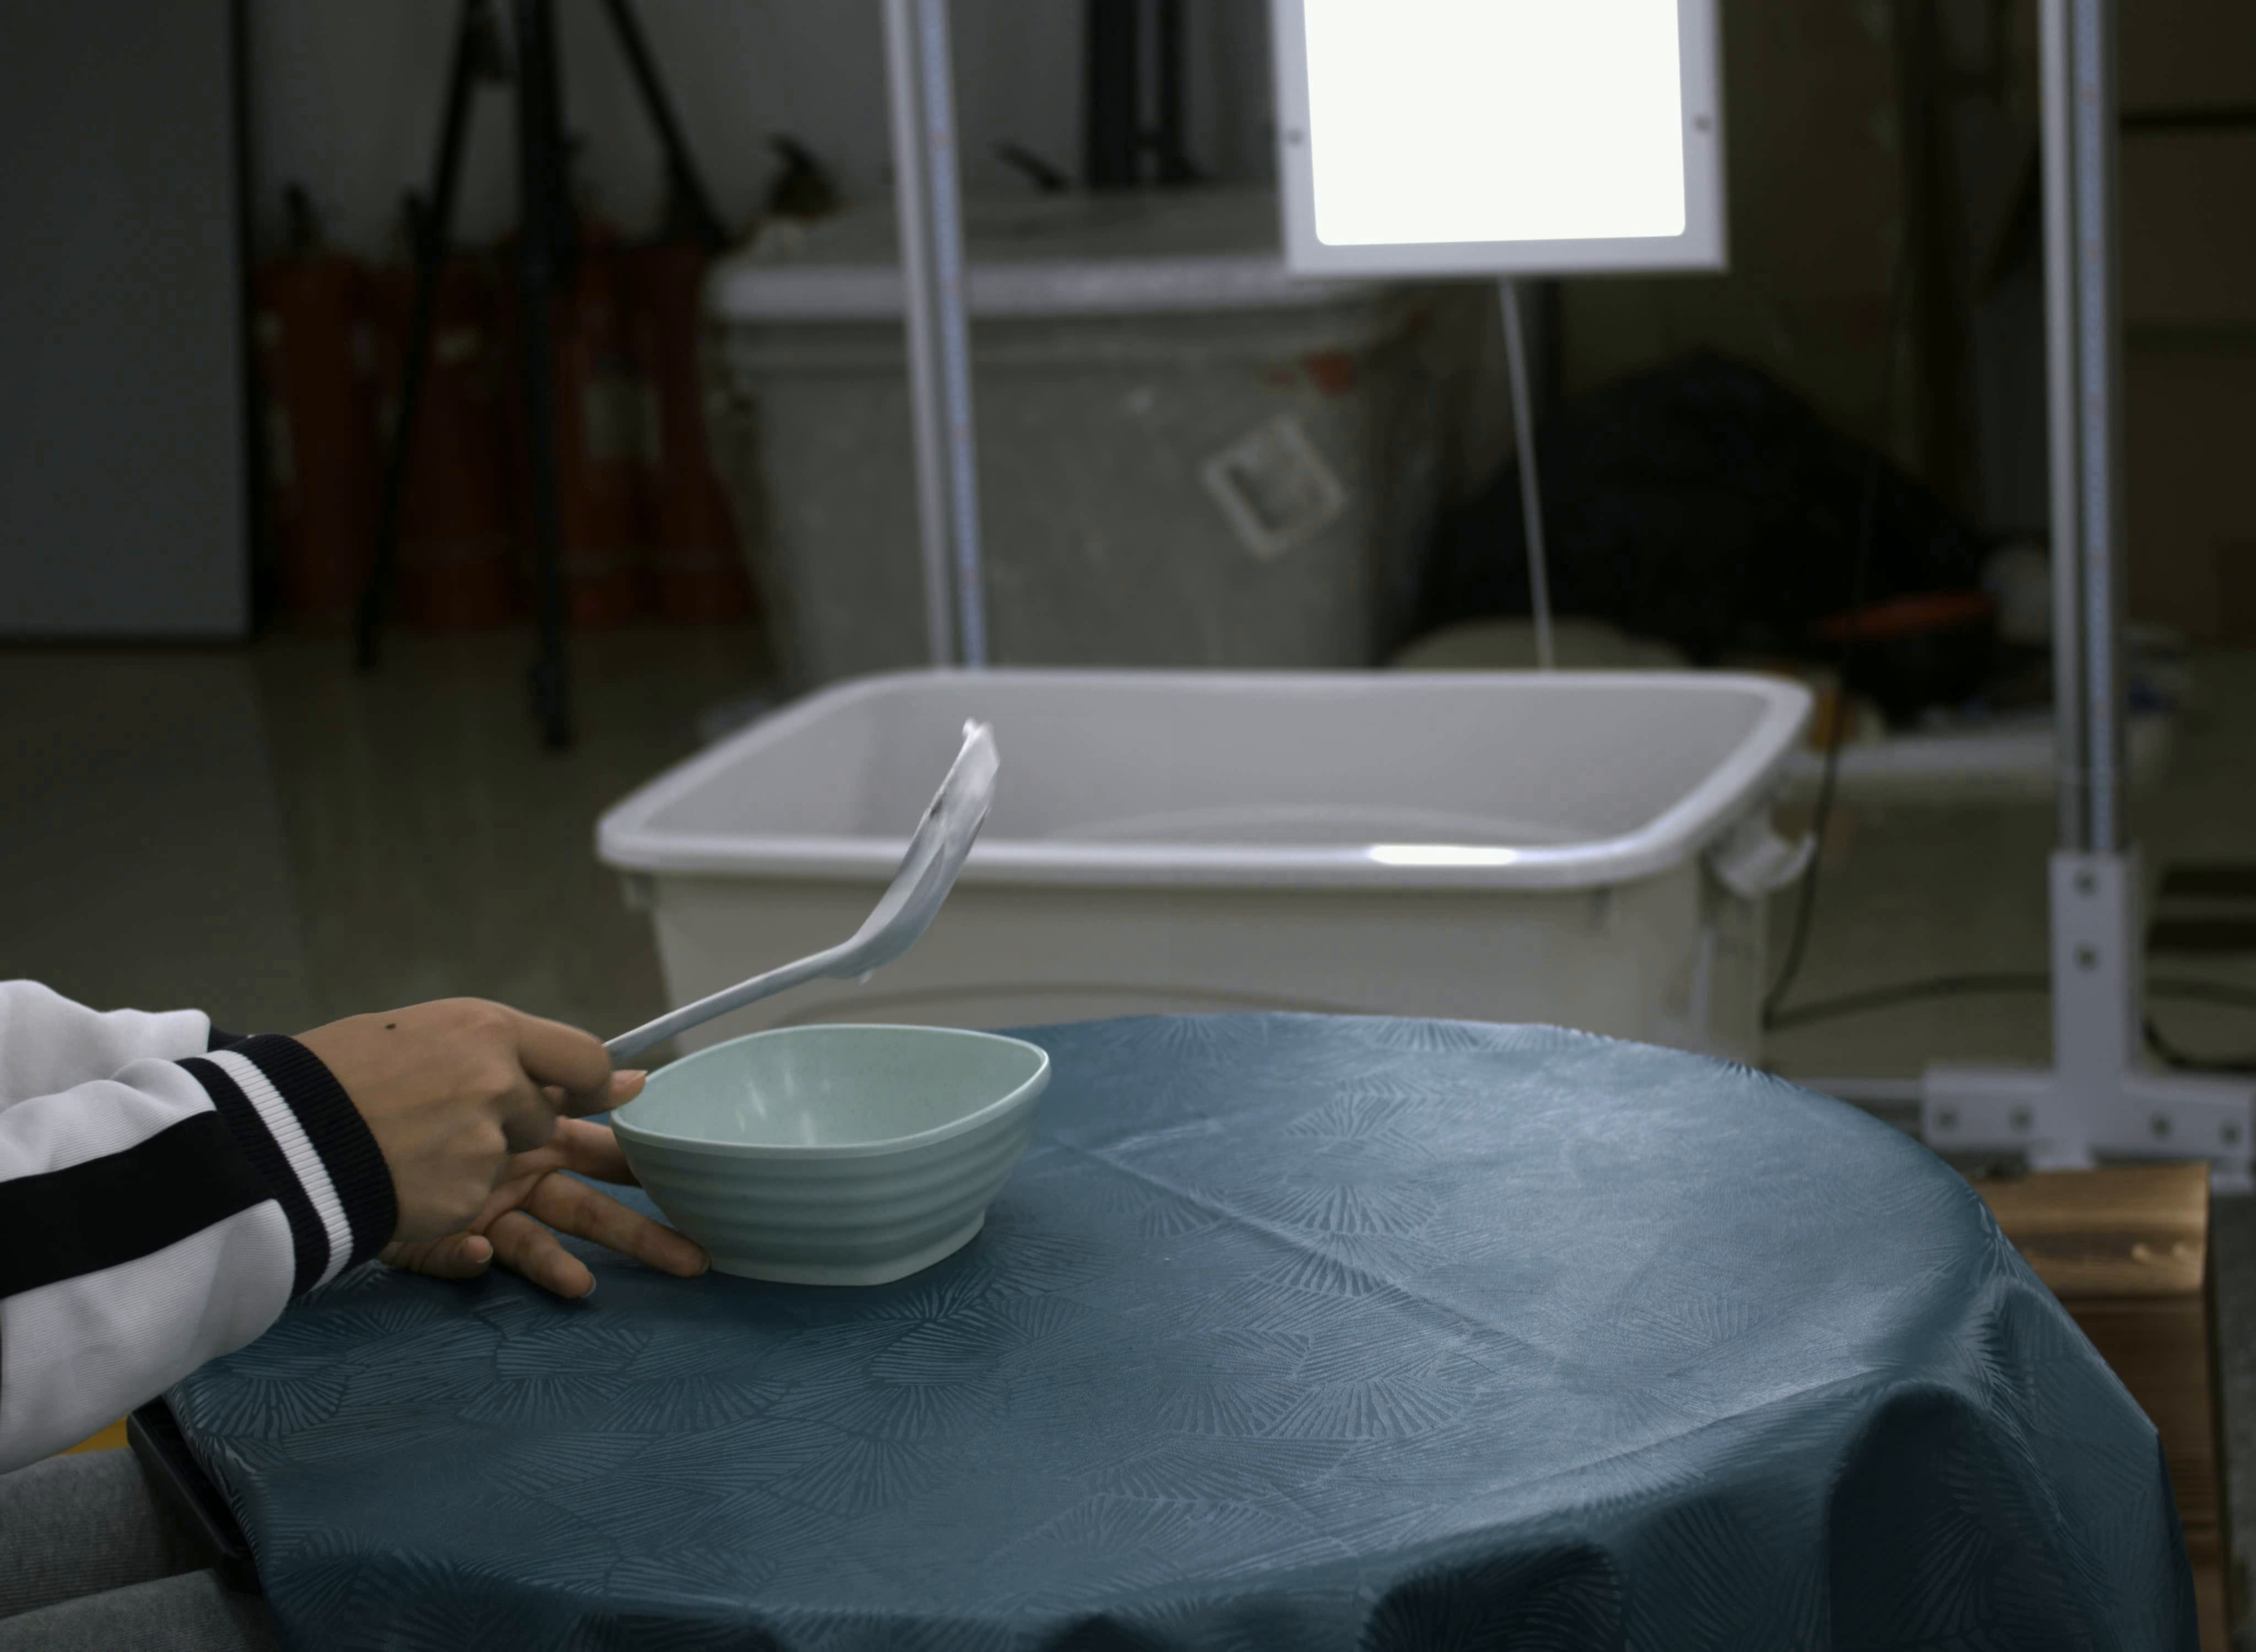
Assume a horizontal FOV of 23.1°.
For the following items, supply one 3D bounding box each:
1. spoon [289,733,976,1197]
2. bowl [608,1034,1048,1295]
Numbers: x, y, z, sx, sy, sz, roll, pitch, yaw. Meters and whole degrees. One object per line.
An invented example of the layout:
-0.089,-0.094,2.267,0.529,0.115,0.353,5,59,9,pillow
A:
-0.155,0.047,1.741,0.271,0.102,0.060,-22,65,-28,spoon
-0.099,0.117,1.863,0.151,0.059,0.151,-5,14,0,bowl
